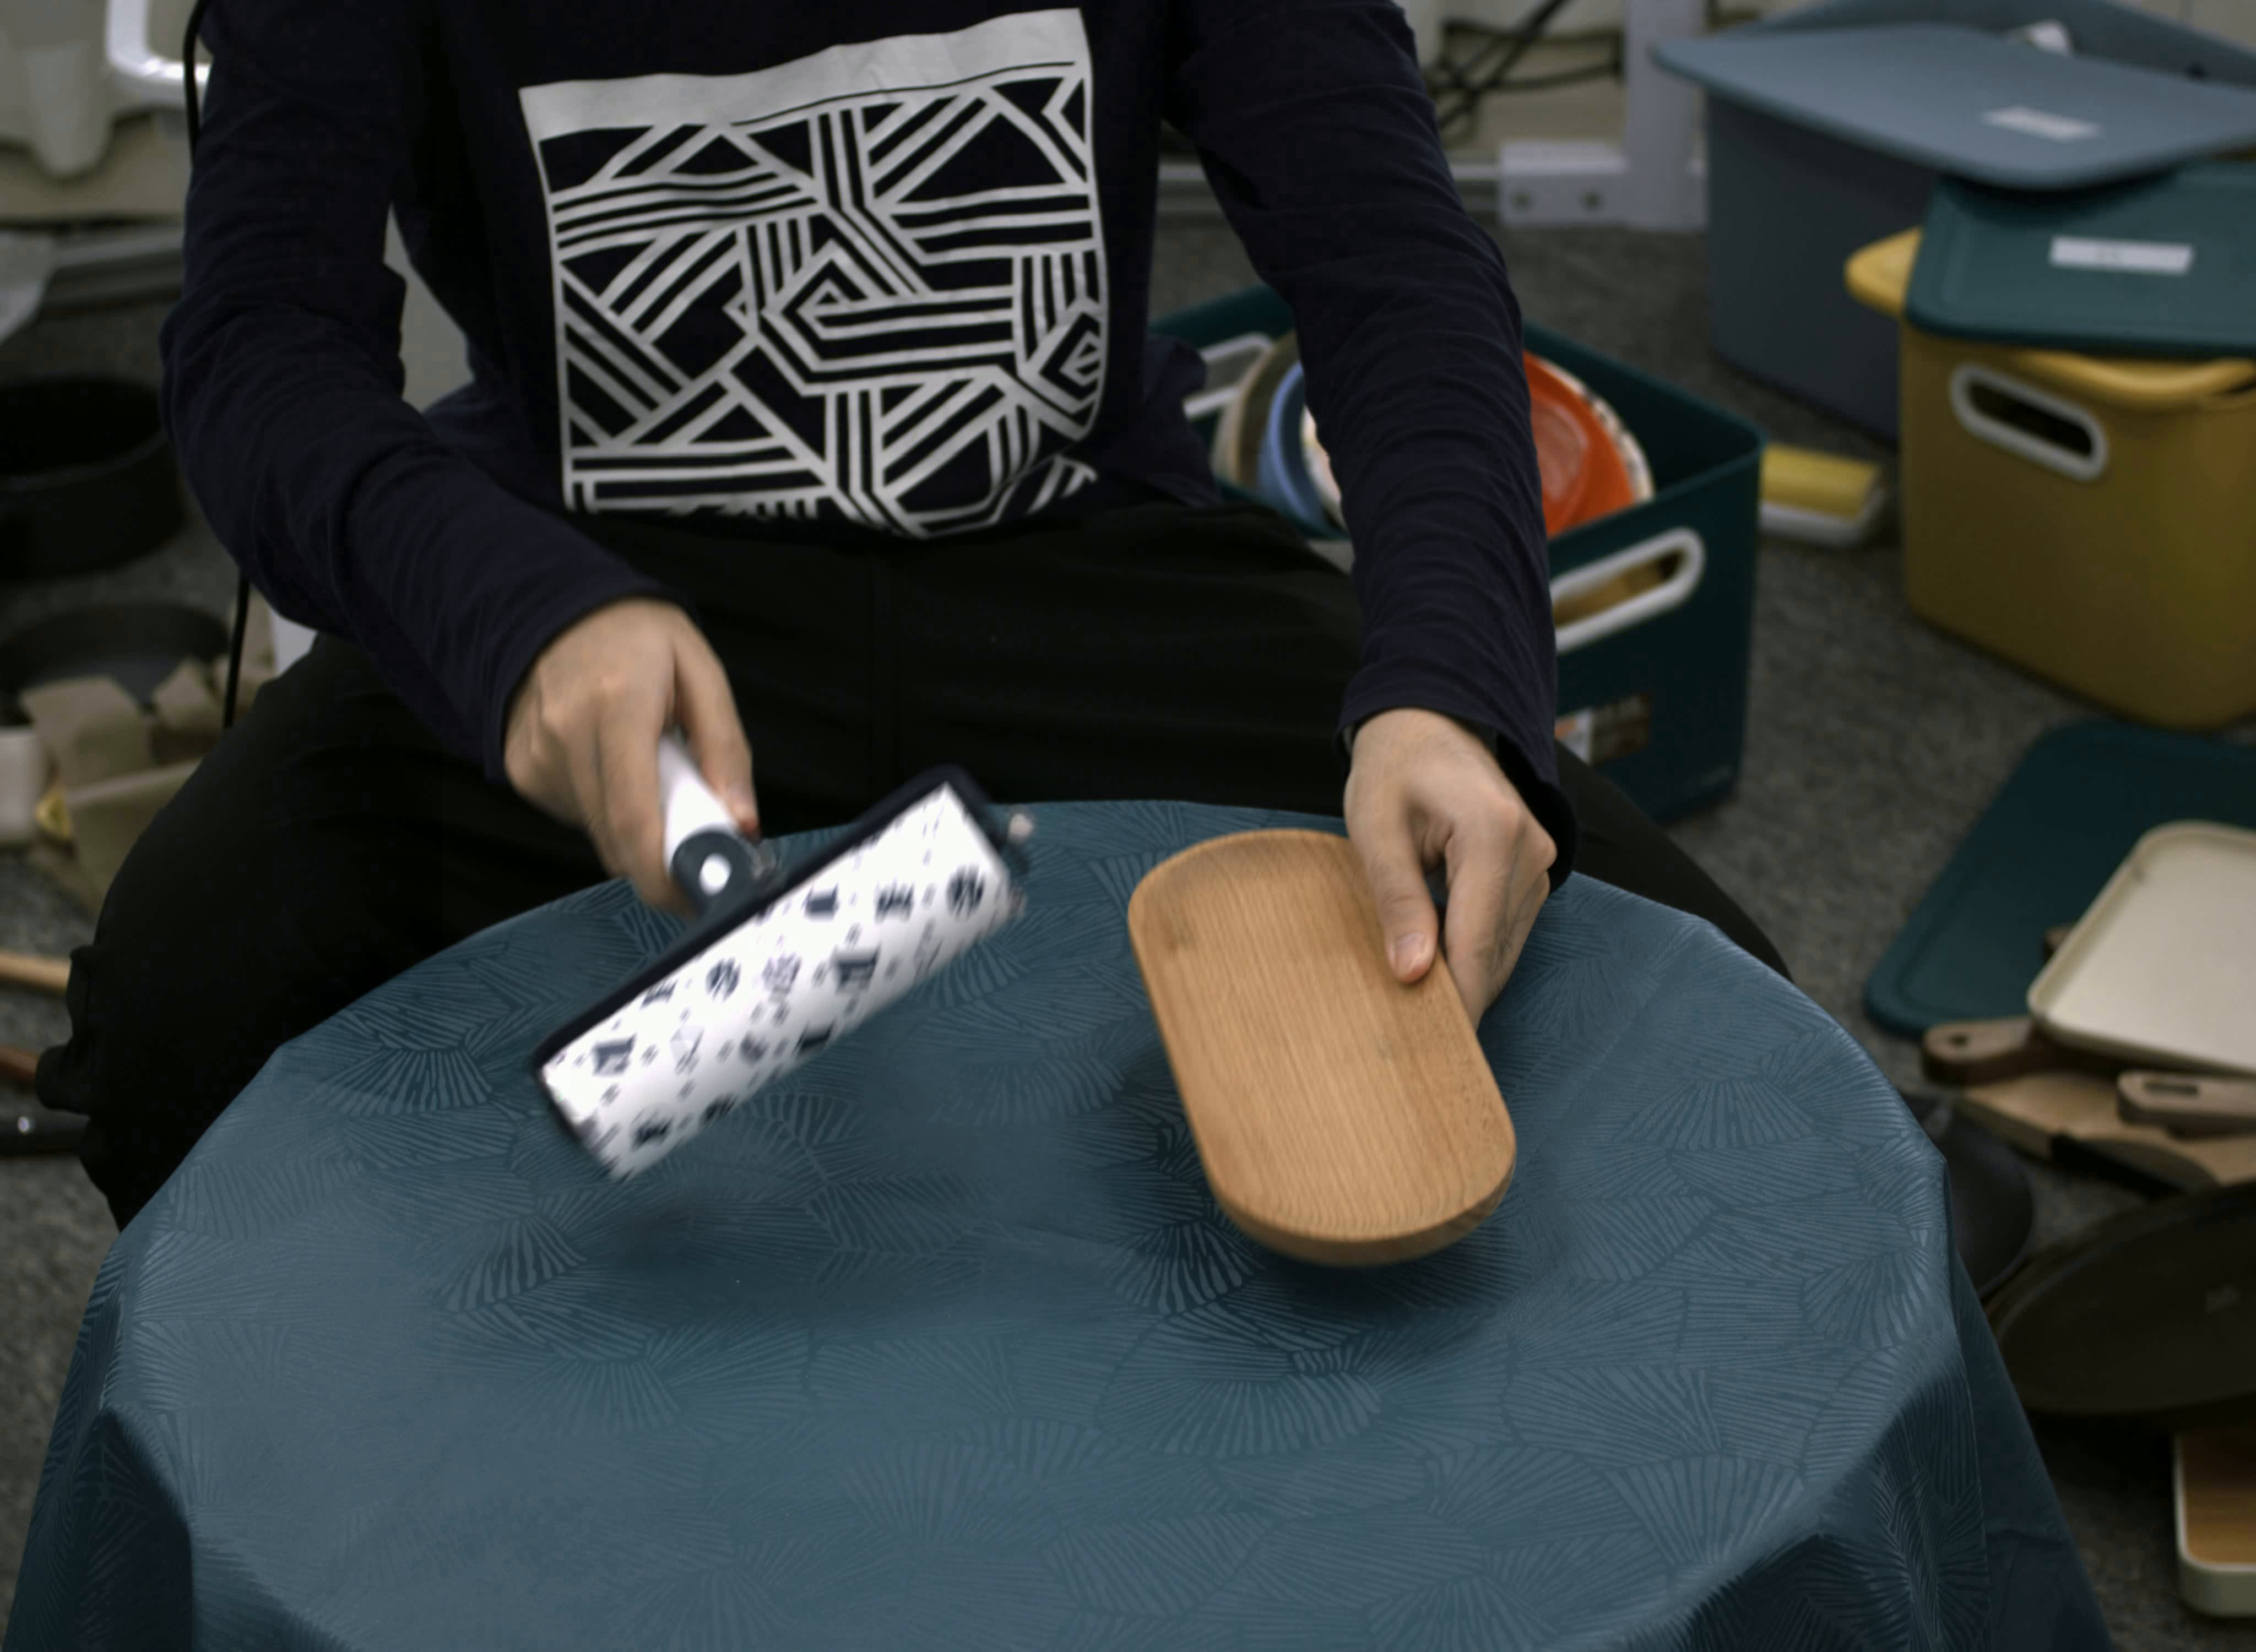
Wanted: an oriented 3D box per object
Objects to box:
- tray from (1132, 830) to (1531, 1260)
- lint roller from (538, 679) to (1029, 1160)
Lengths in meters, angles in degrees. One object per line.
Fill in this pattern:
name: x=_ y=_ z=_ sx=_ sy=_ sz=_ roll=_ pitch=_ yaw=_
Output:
tray: x=0.065 y=0.070 z=1.858 sx=0.101 sy=0.020 sz=0.234 roll=-8 pitch=35 yaw=-9
lint roller: x=-0.144 y=0.003 z=1.912 sx=0.176 sy=0.050 sz=0.249 roll=-36 pitch=33 yaw=-3
